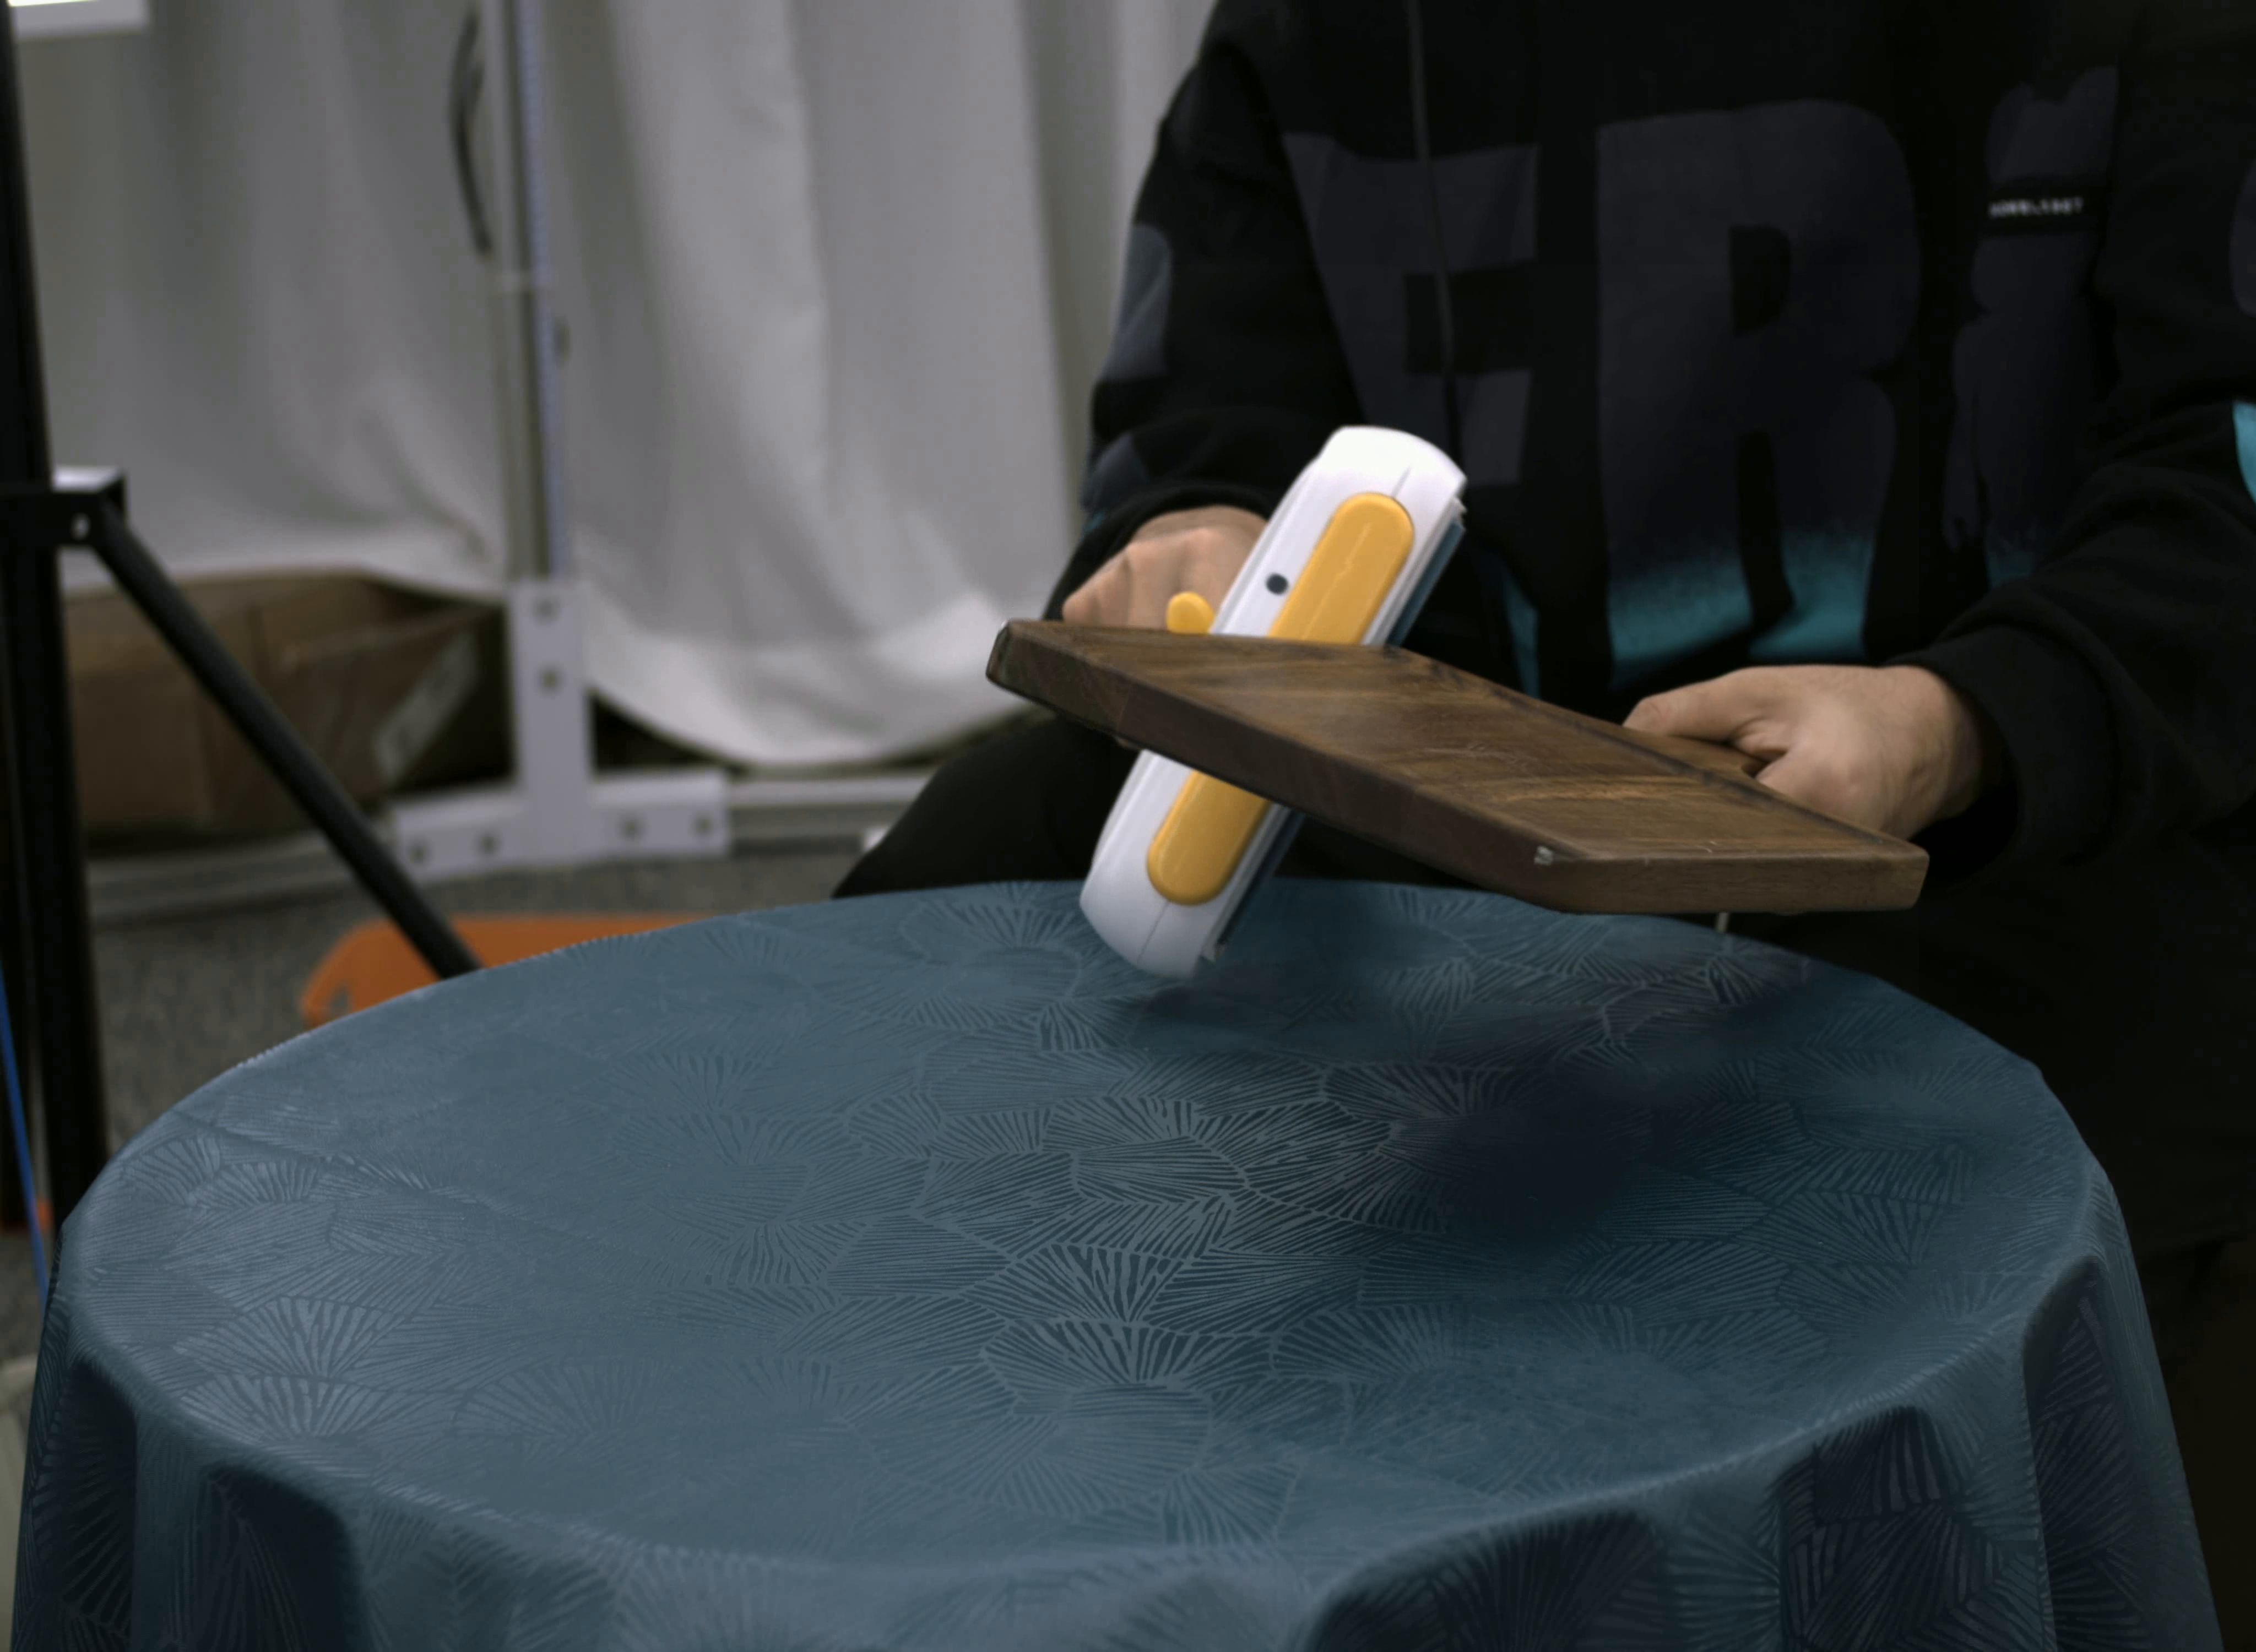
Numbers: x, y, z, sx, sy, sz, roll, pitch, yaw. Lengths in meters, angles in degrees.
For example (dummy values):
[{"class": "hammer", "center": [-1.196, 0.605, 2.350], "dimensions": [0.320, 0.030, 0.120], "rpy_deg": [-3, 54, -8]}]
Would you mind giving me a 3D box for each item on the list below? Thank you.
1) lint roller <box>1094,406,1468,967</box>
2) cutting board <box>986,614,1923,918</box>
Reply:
[{"class": "lint roller", "center": [0.038, -0.046, 1.776], "dimensions": [0.074, 0.193, 0.193], "rpy_deg": [24, -4, -4]}, {"class": "cutting board", "center": [0.124, -0.016, 1.574], "dimensions": [0.205, 0.023, 0.344], "rpy_deg": [23, 10, 29]}]
